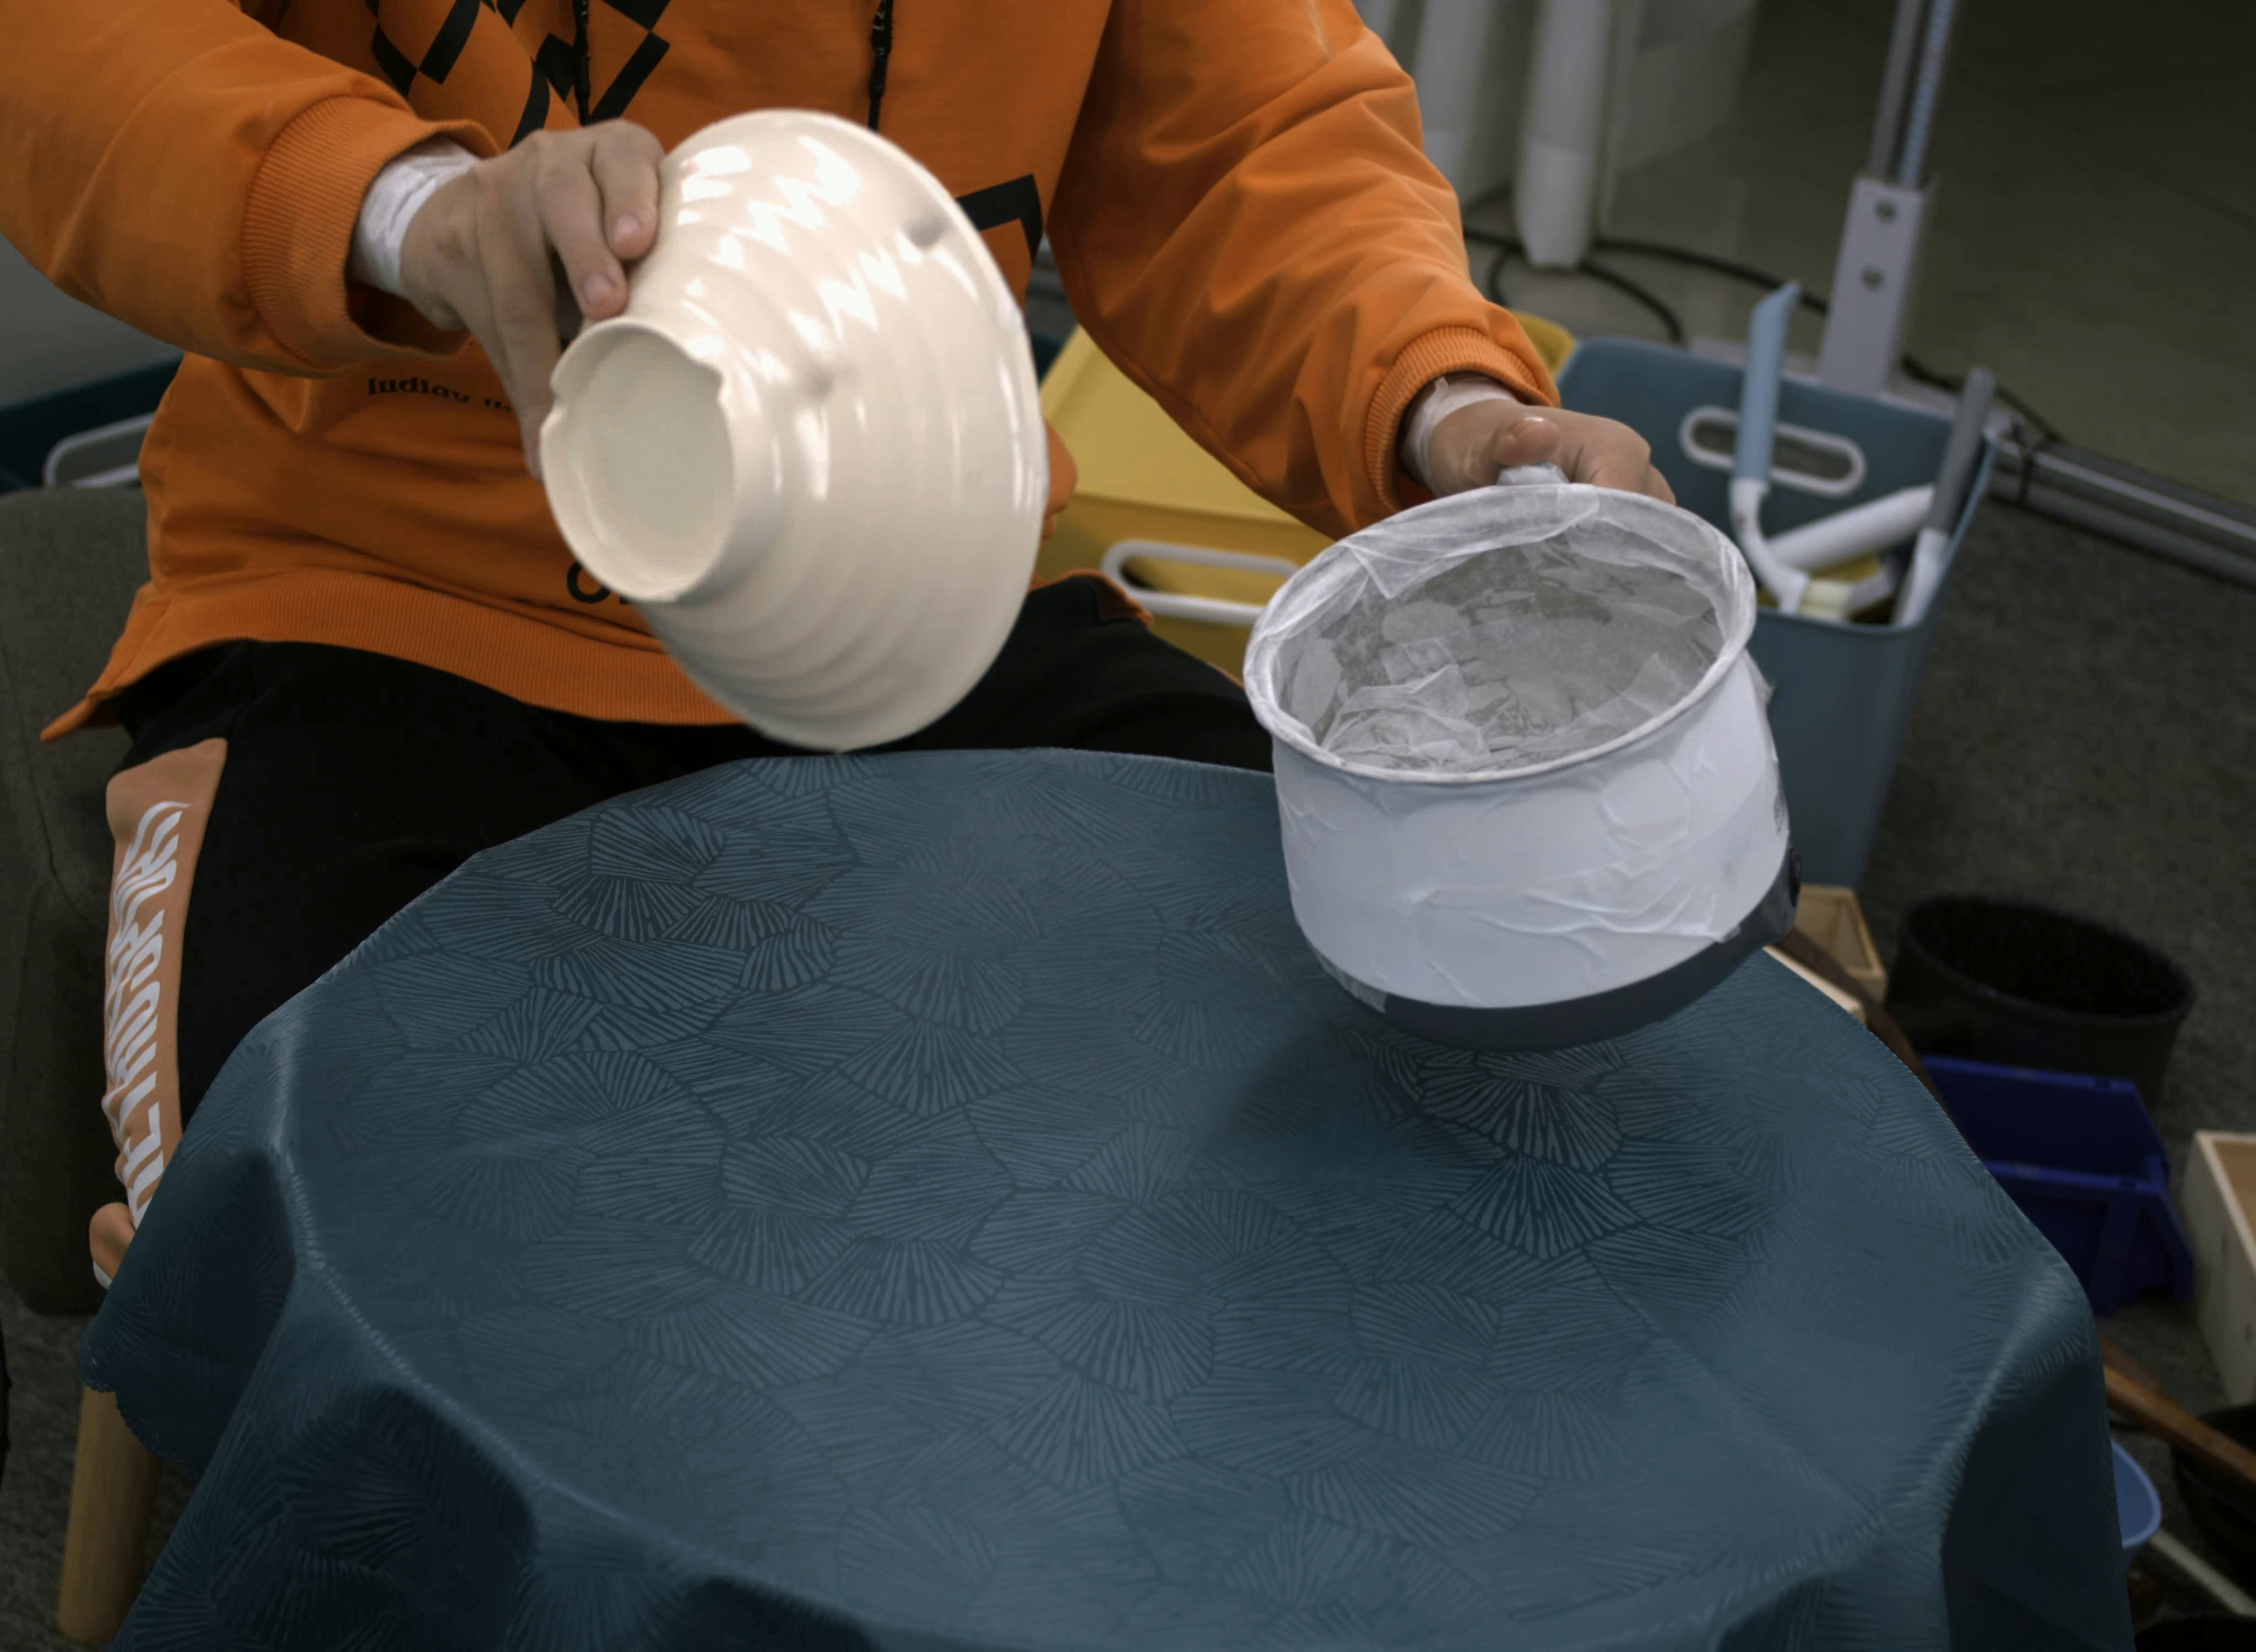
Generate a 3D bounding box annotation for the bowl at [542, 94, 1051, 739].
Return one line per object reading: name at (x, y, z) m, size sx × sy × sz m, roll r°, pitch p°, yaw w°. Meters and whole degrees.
bowl at (-0.124, -0.121, 1.648) m, size 0.205 × 0.203 × 0.077 m, roll 27°, pitch 27°, yaw 34°

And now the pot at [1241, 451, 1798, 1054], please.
pot at (0.141, -0.034, 1.868) m, size 0.178 × 0.136 × 0.235 m, roll -5°, pitch 36°, yaw 12°
